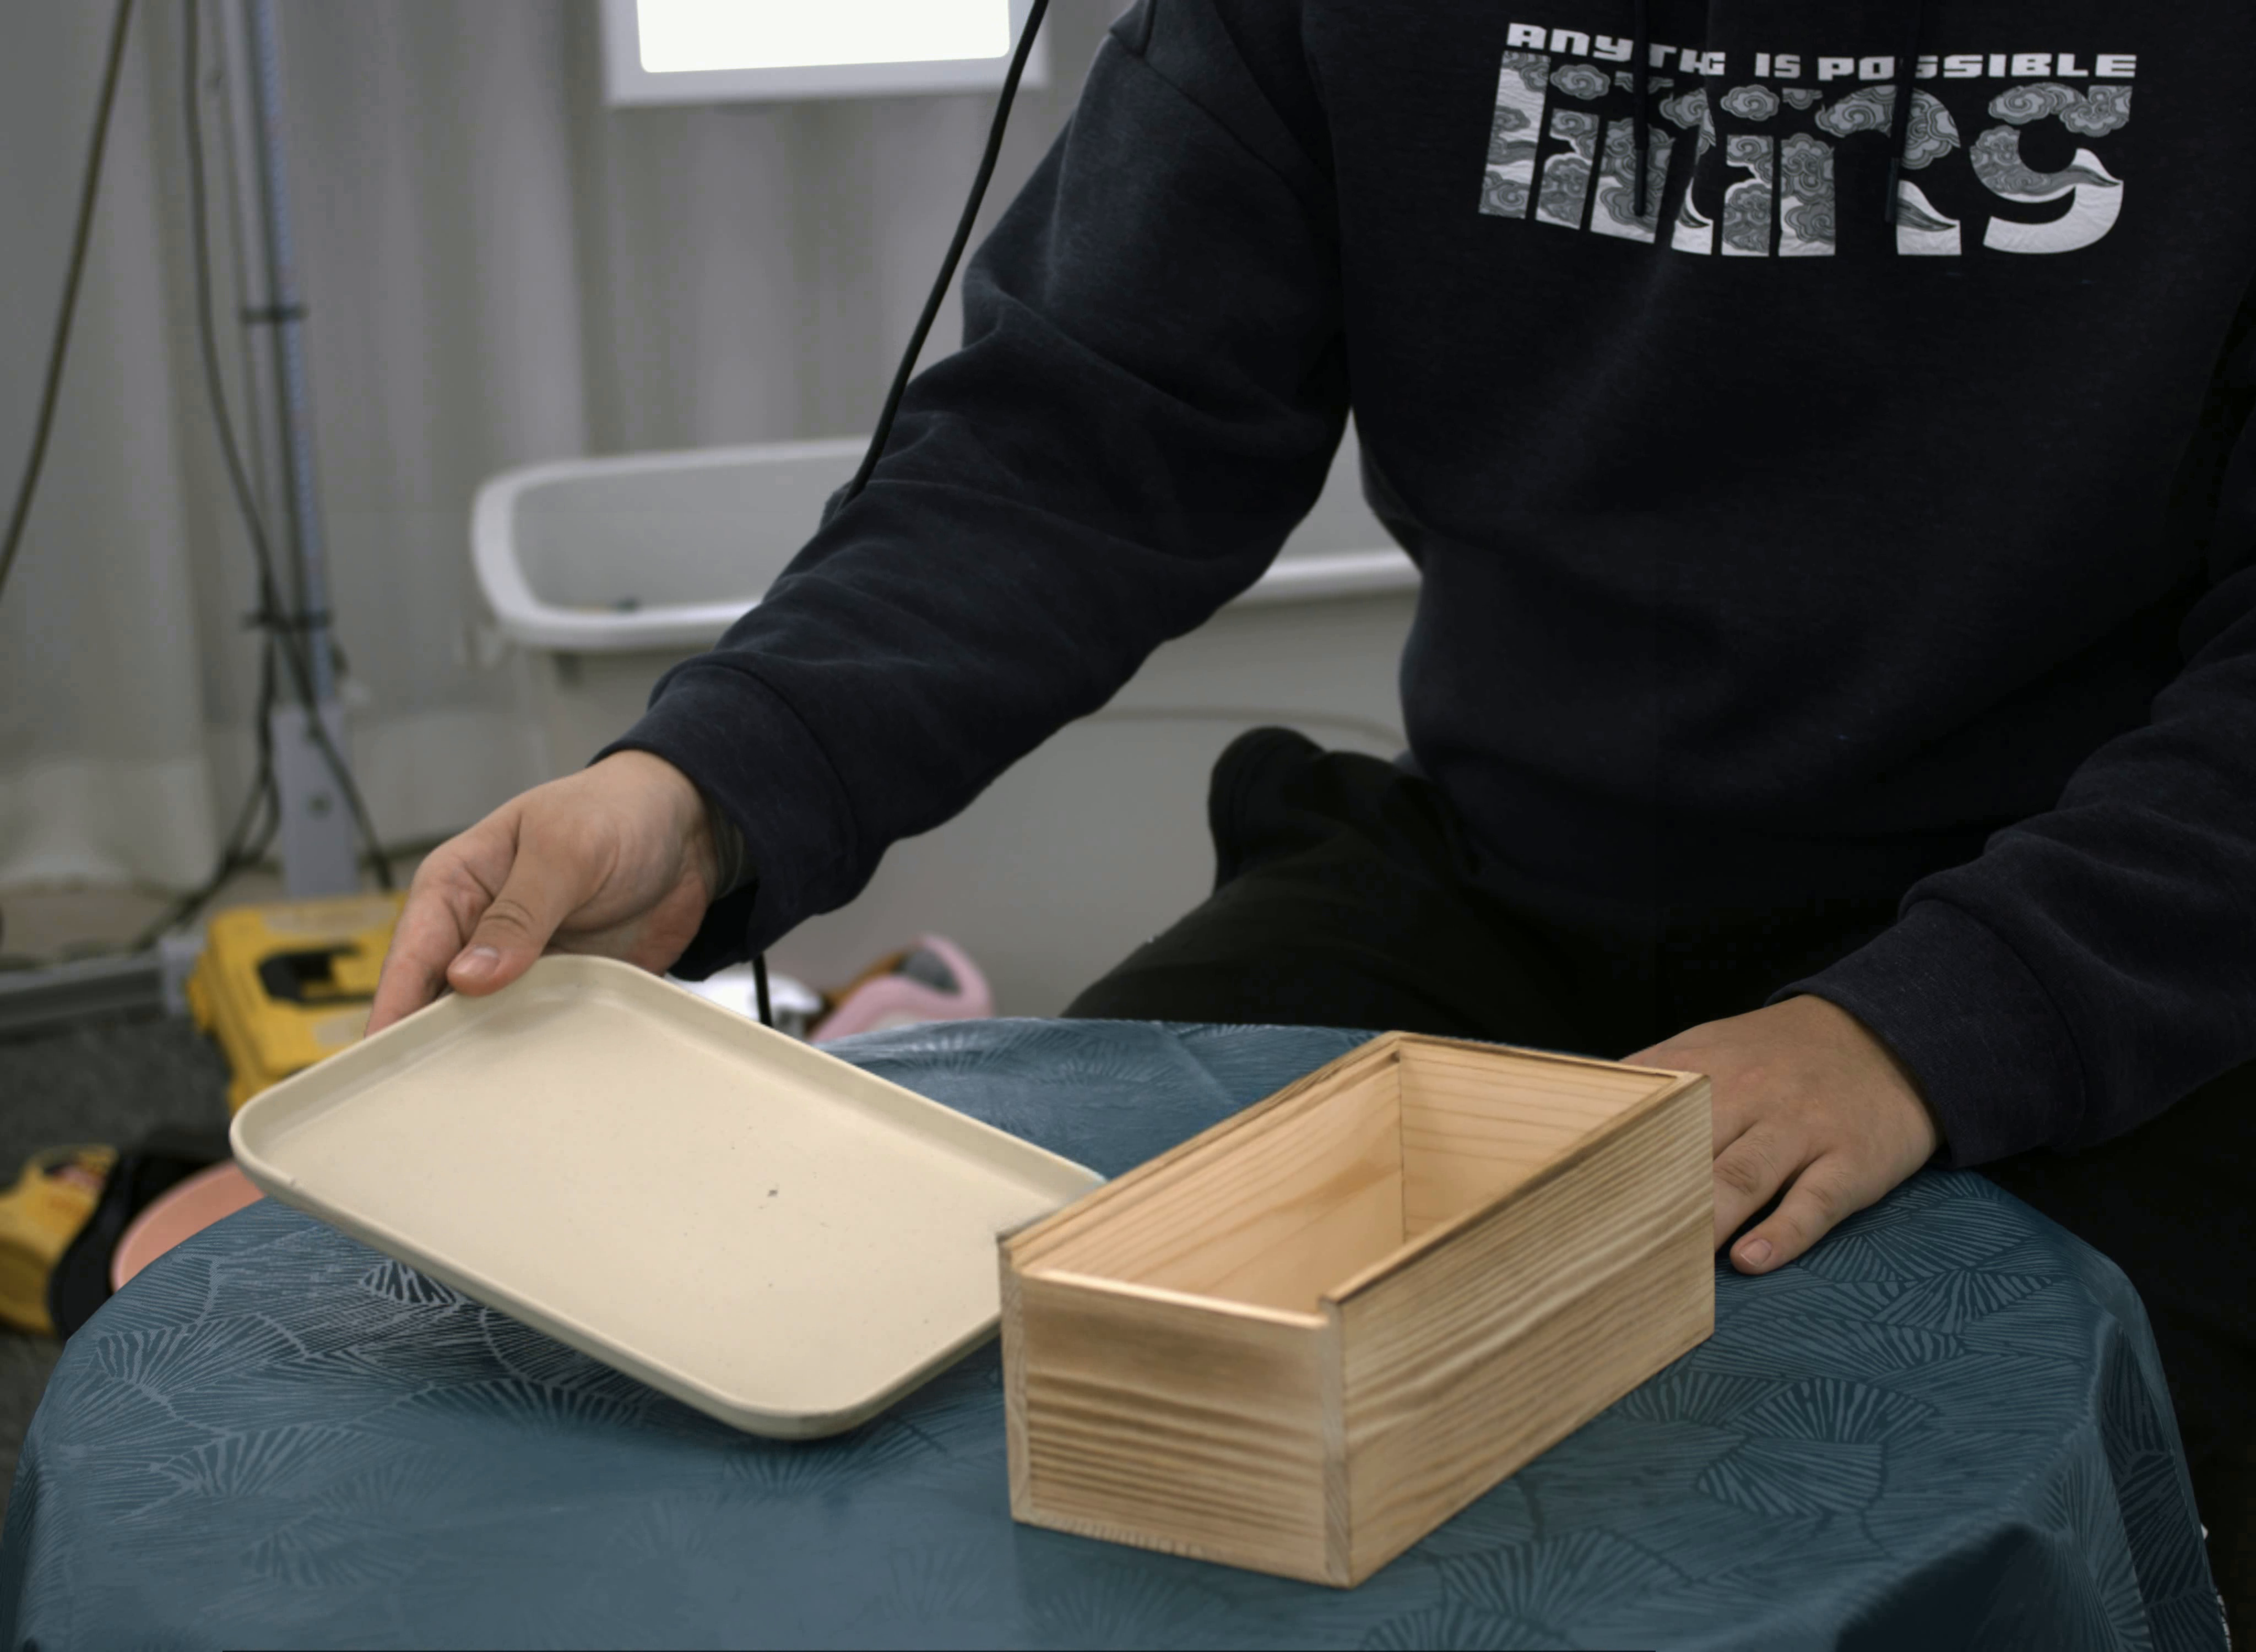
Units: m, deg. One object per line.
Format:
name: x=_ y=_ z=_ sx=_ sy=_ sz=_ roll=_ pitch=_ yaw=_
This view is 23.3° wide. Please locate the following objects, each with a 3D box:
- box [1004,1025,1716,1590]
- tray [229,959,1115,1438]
box: x=0.068 y=0.127 z=1.503 sx=0.108 sy=0.080 sz=0.211 roll=7 pitch=17 yaw=31
tray: x=-0.134 y=0.108 z=1.620 sx=0.241 sy=0.017 sz=0.171 roll=21 pitch=31 yaw=31
